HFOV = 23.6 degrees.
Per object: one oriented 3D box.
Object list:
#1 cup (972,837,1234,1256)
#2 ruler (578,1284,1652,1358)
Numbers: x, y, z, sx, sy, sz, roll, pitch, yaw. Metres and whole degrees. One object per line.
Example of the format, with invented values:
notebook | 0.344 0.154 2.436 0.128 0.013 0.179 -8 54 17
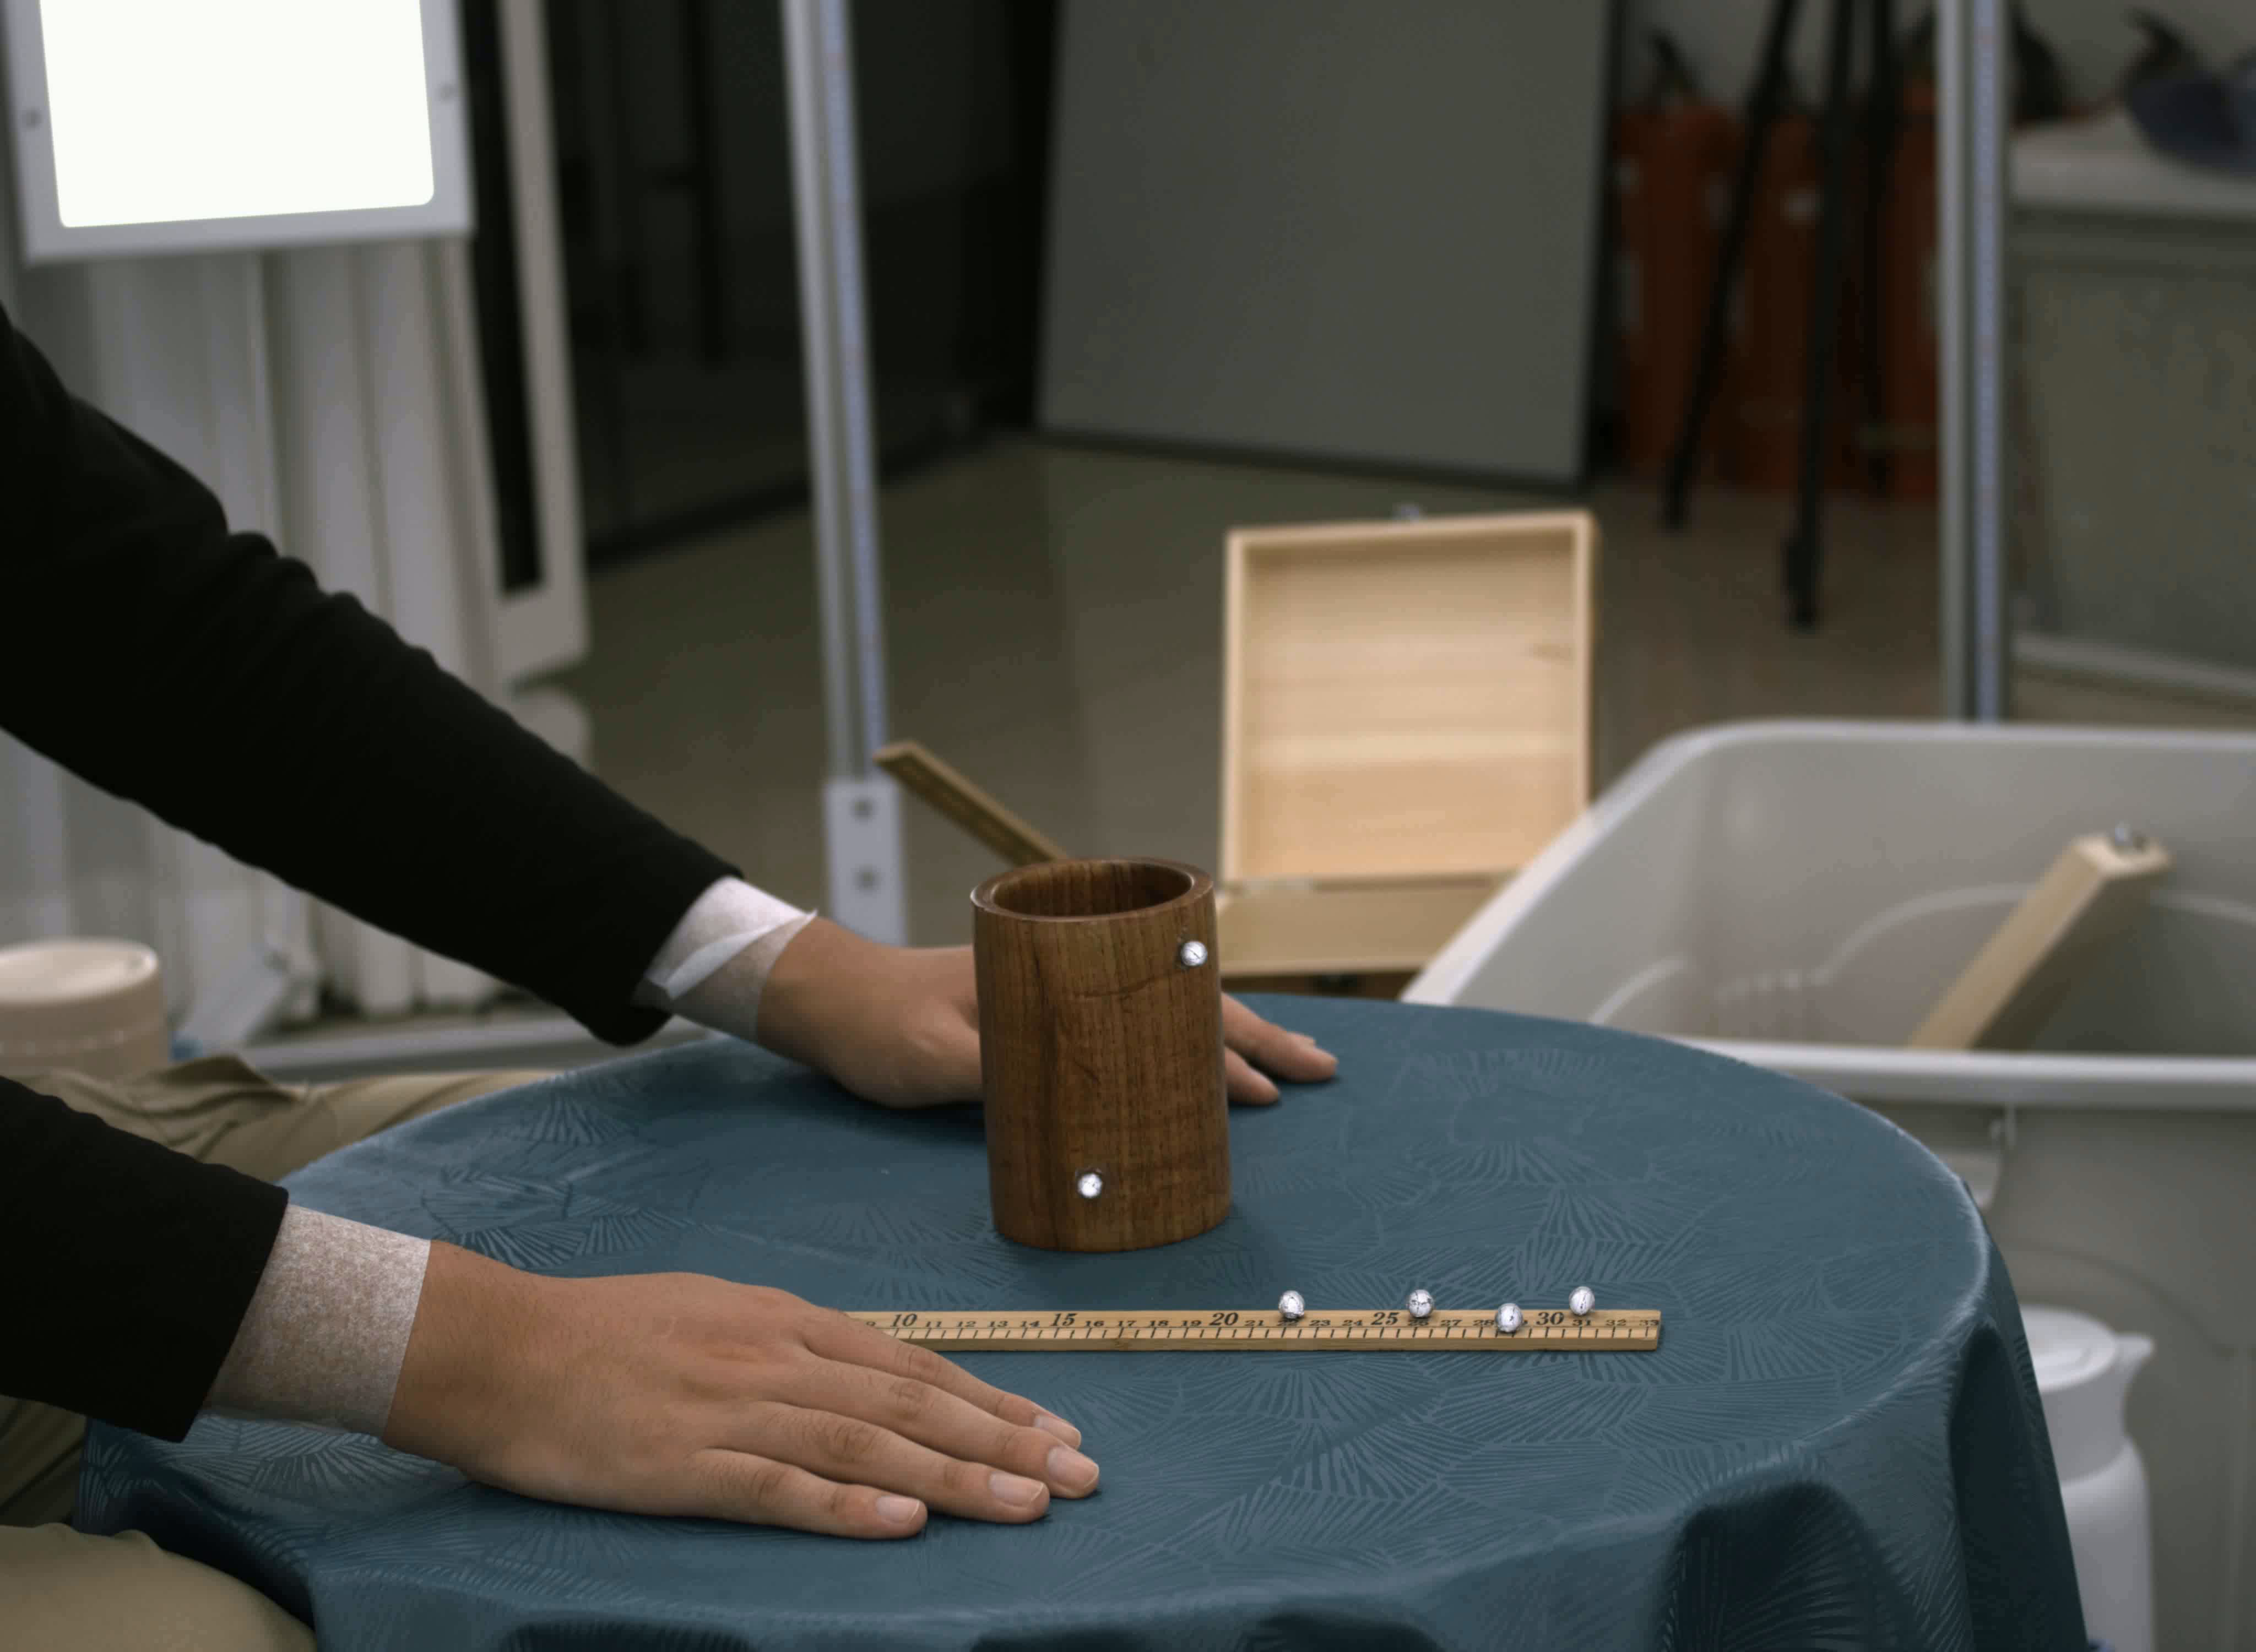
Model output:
cup | -0.007 0.070 1.734 0.086 0.120 0.088 -4 12 0
ruler | -0.006 0.150 1.632 0.330 0.022 0.027 0 10 13
